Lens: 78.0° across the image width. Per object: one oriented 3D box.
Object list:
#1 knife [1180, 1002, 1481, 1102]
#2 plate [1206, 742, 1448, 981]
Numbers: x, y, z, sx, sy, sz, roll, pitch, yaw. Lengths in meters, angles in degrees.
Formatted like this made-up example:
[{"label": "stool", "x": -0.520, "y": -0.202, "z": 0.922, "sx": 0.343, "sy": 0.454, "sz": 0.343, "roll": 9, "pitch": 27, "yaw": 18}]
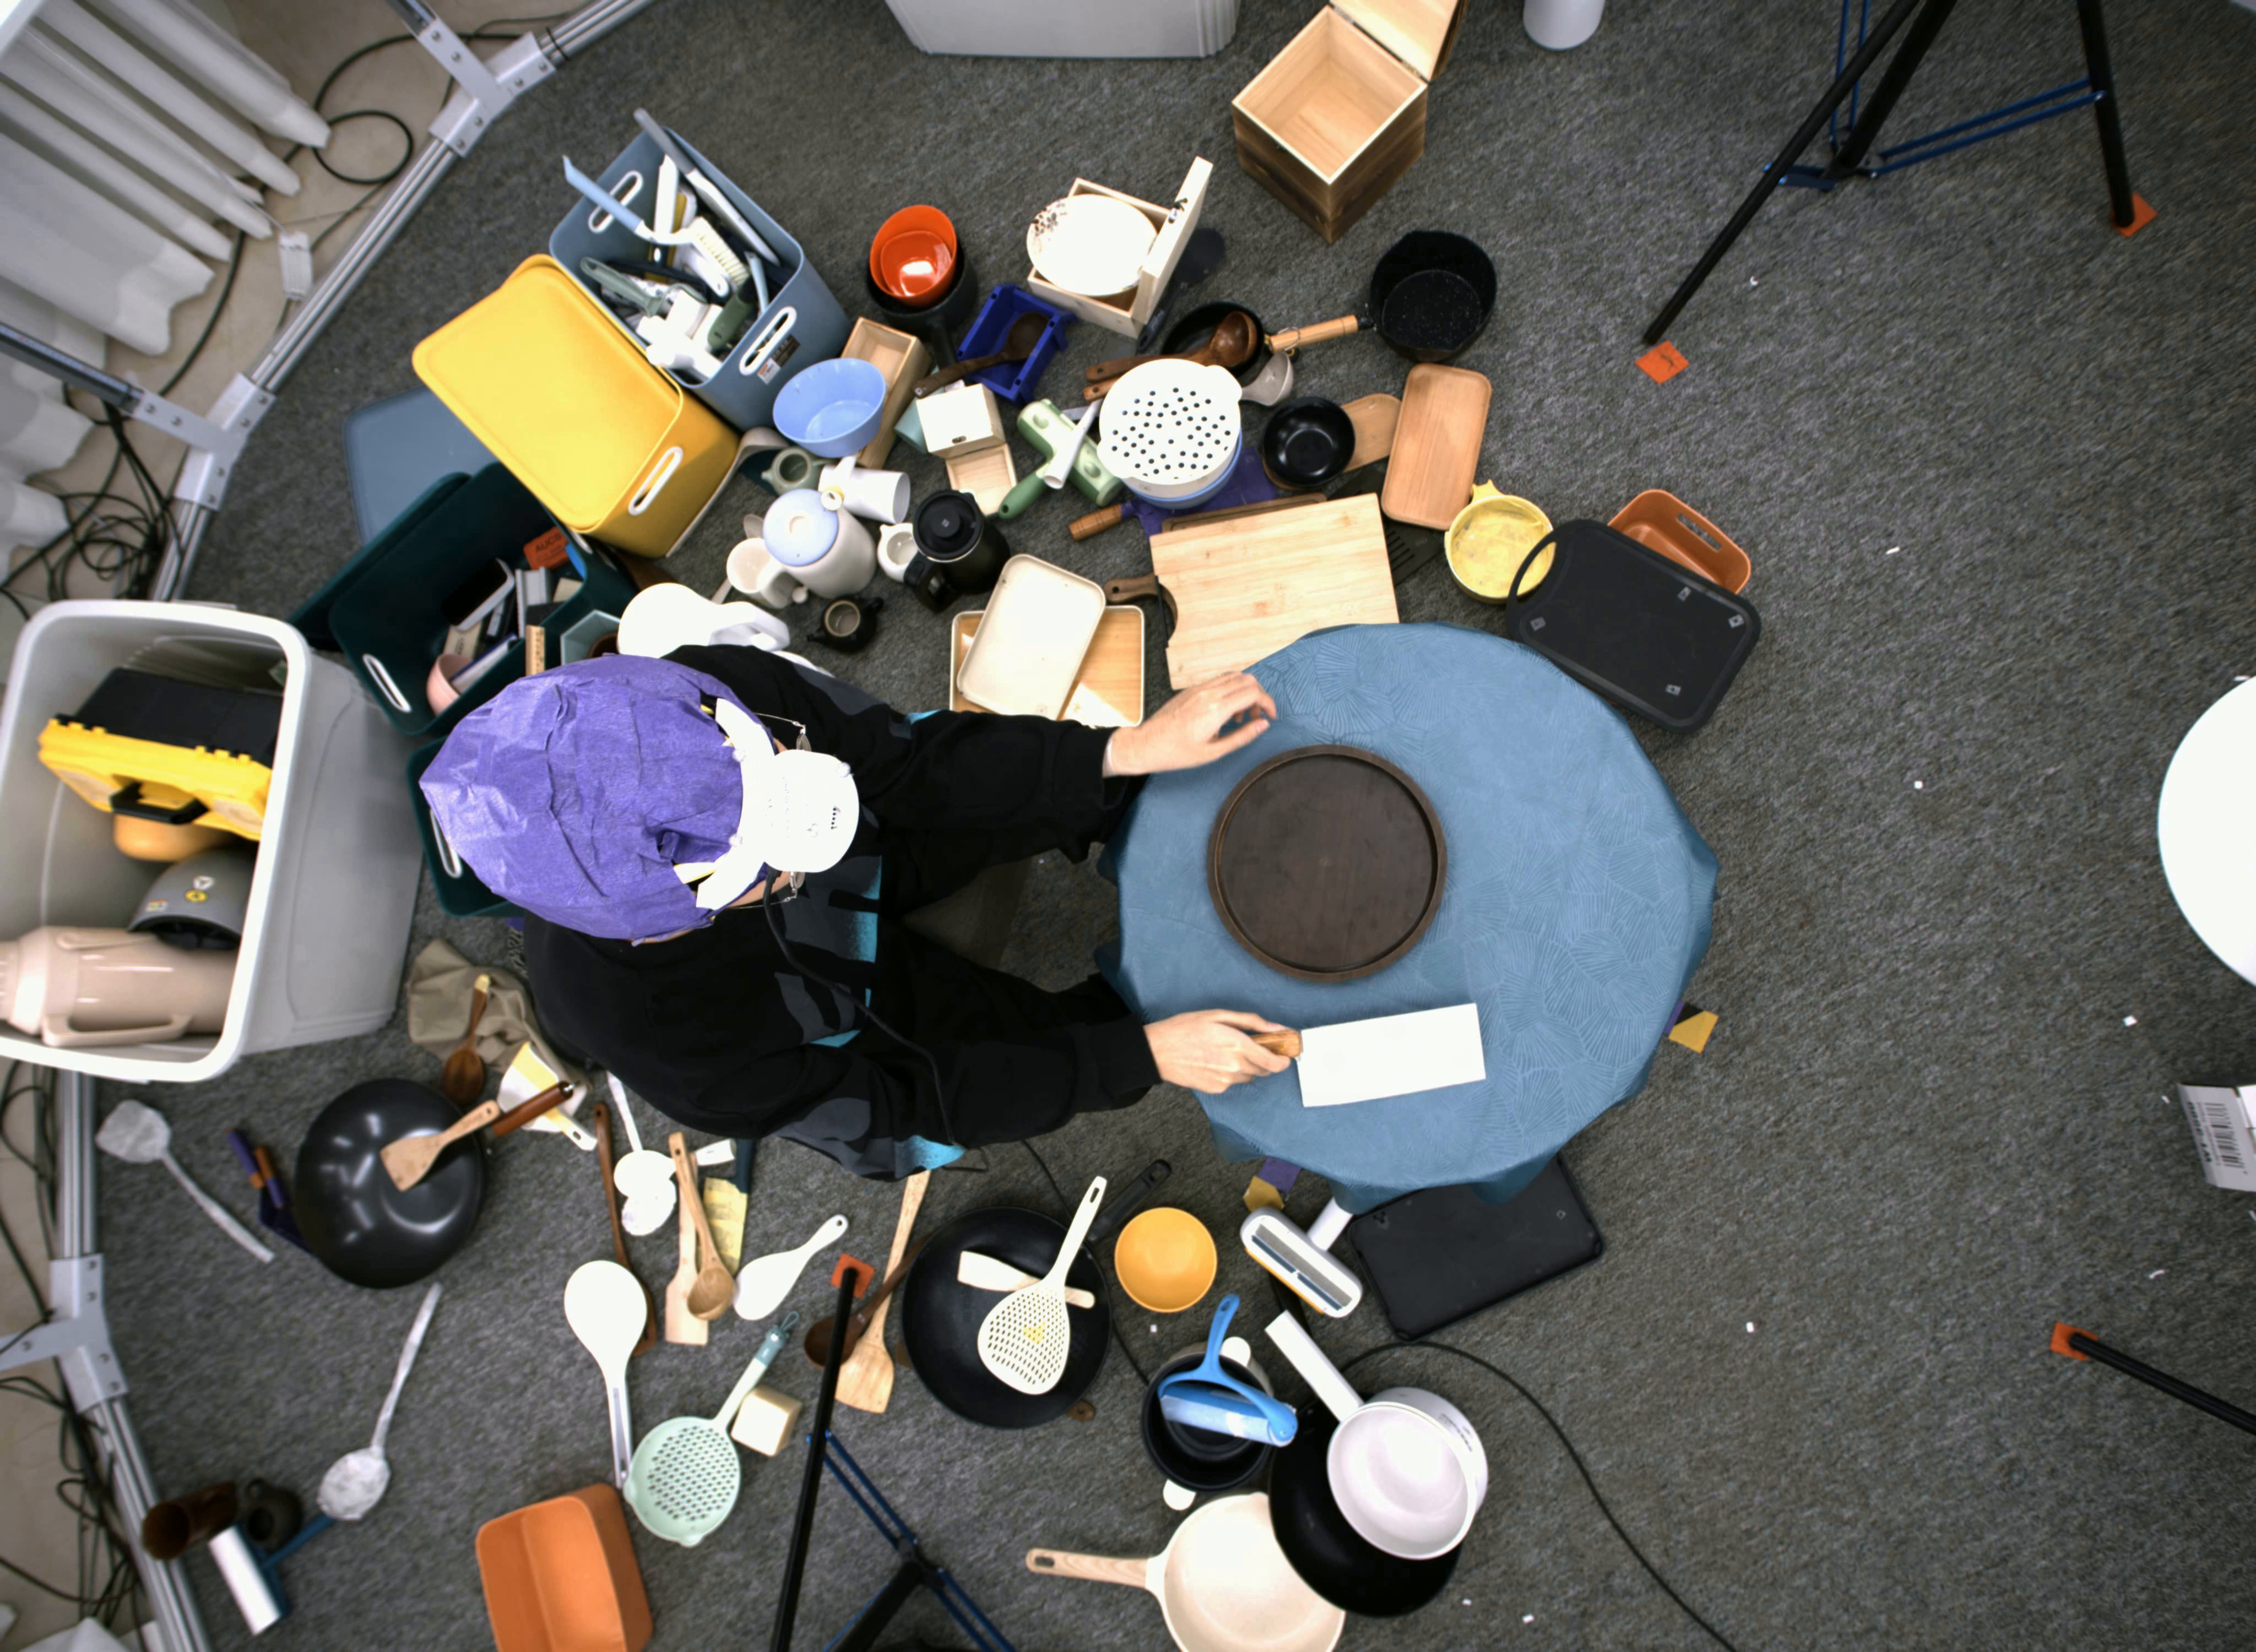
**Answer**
[{"label": "knife", "x": 0.211, "y": 0.241, "z": 1.433, "sx": 0.307, "sy": 0.020, "sz": 0.094, "roll": -10, "pitch": 114, "yaw": 8}, {"label": "plate", "x": 0.209, "y": 0.037, "z": 1.460, "sx": 0.256, "sy": 0.029, "sz": 0.253, "roll": -1, "pitch": 85, "yaw": 10}]
